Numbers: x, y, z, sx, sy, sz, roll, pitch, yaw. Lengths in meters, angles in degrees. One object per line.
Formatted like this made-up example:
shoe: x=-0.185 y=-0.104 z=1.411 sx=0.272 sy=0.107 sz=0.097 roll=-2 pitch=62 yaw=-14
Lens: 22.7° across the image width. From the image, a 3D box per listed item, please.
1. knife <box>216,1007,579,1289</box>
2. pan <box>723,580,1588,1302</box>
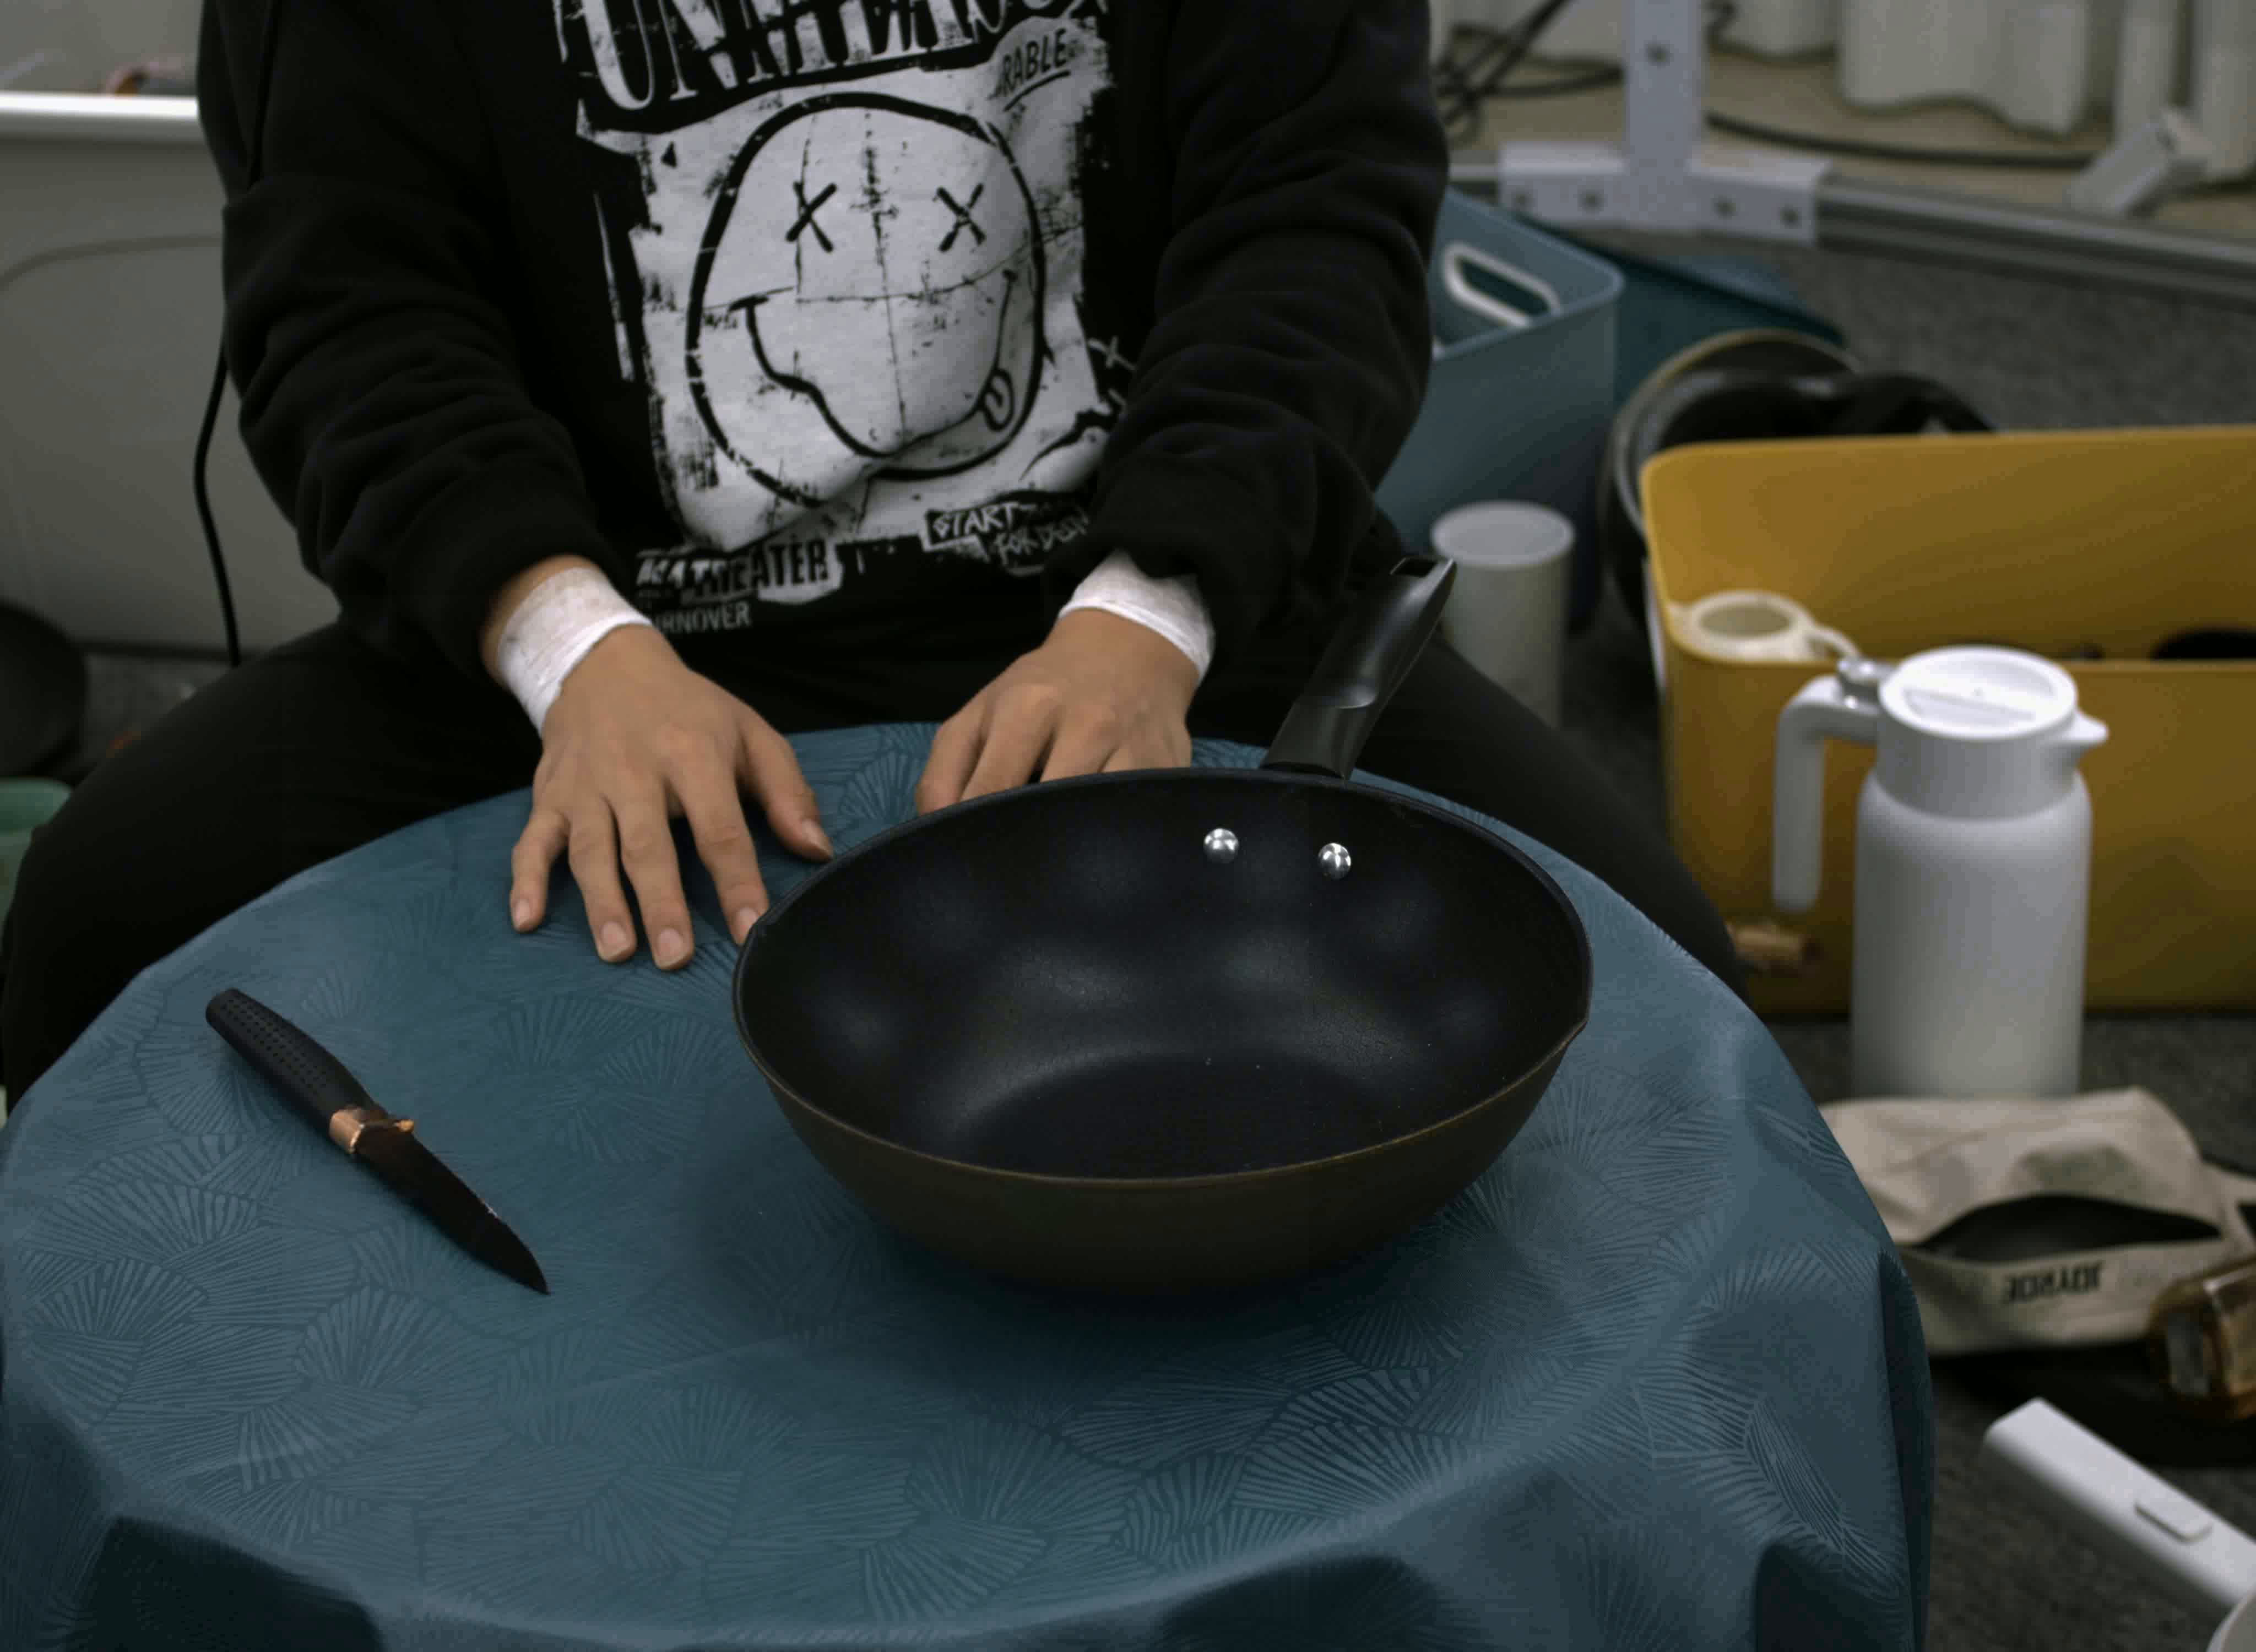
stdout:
knife: x=-0.249 y=0.110 z=1.897 sx=0.026 sy=0.017 sz=0.226 roll=-6 pitch=25 yaw=-36
pan: x=0.039 y=0.040 z=1.927 sx=0.286 sy=0.086 sz=0.471 roll=6 pitch=27 yaw=17
